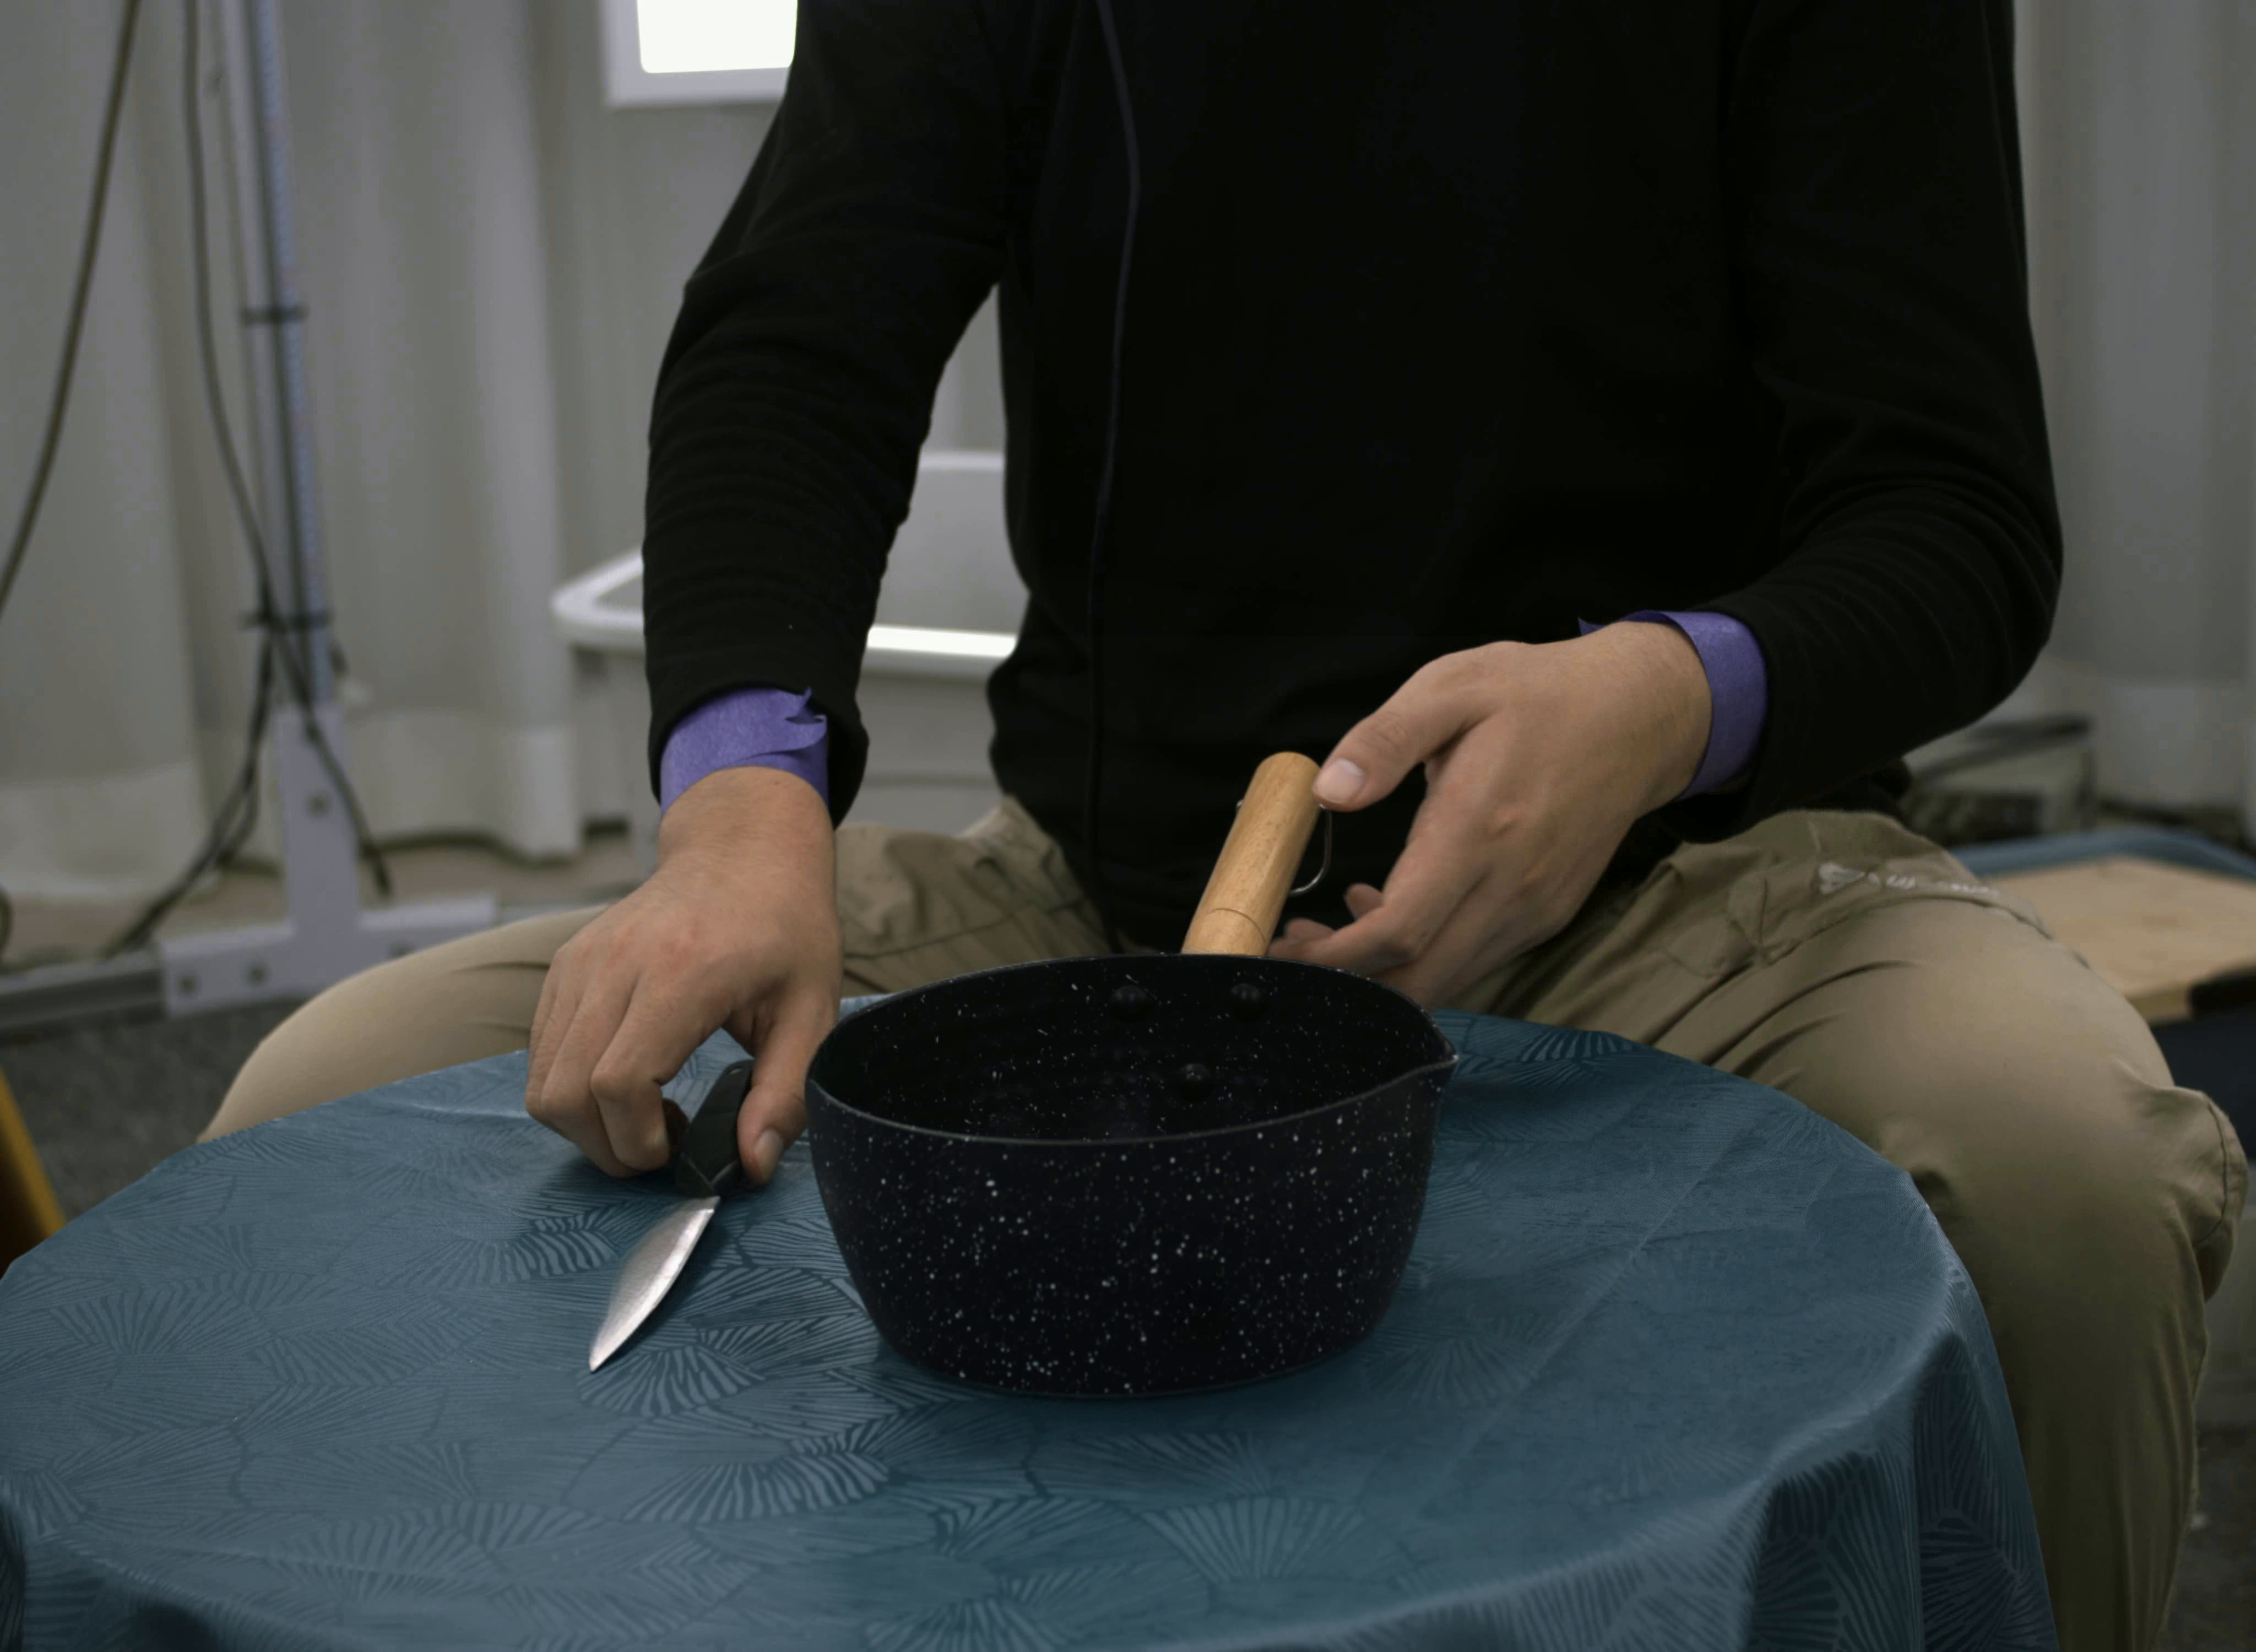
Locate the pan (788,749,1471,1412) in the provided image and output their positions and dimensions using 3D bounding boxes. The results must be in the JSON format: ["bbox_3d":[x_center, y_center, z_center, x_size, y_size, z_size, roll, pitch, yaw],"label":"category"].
[{"bbox_3d":[0.016,0.072,1.667,0.207,0.108,0.344,0,16,13],"label":"pan"}]

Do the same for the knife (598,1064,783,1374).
[{"bbox_3d":[-0.138,0.121,1.691,0.024,0.016,0.240,-9,17,11],"label":"knife"}]
